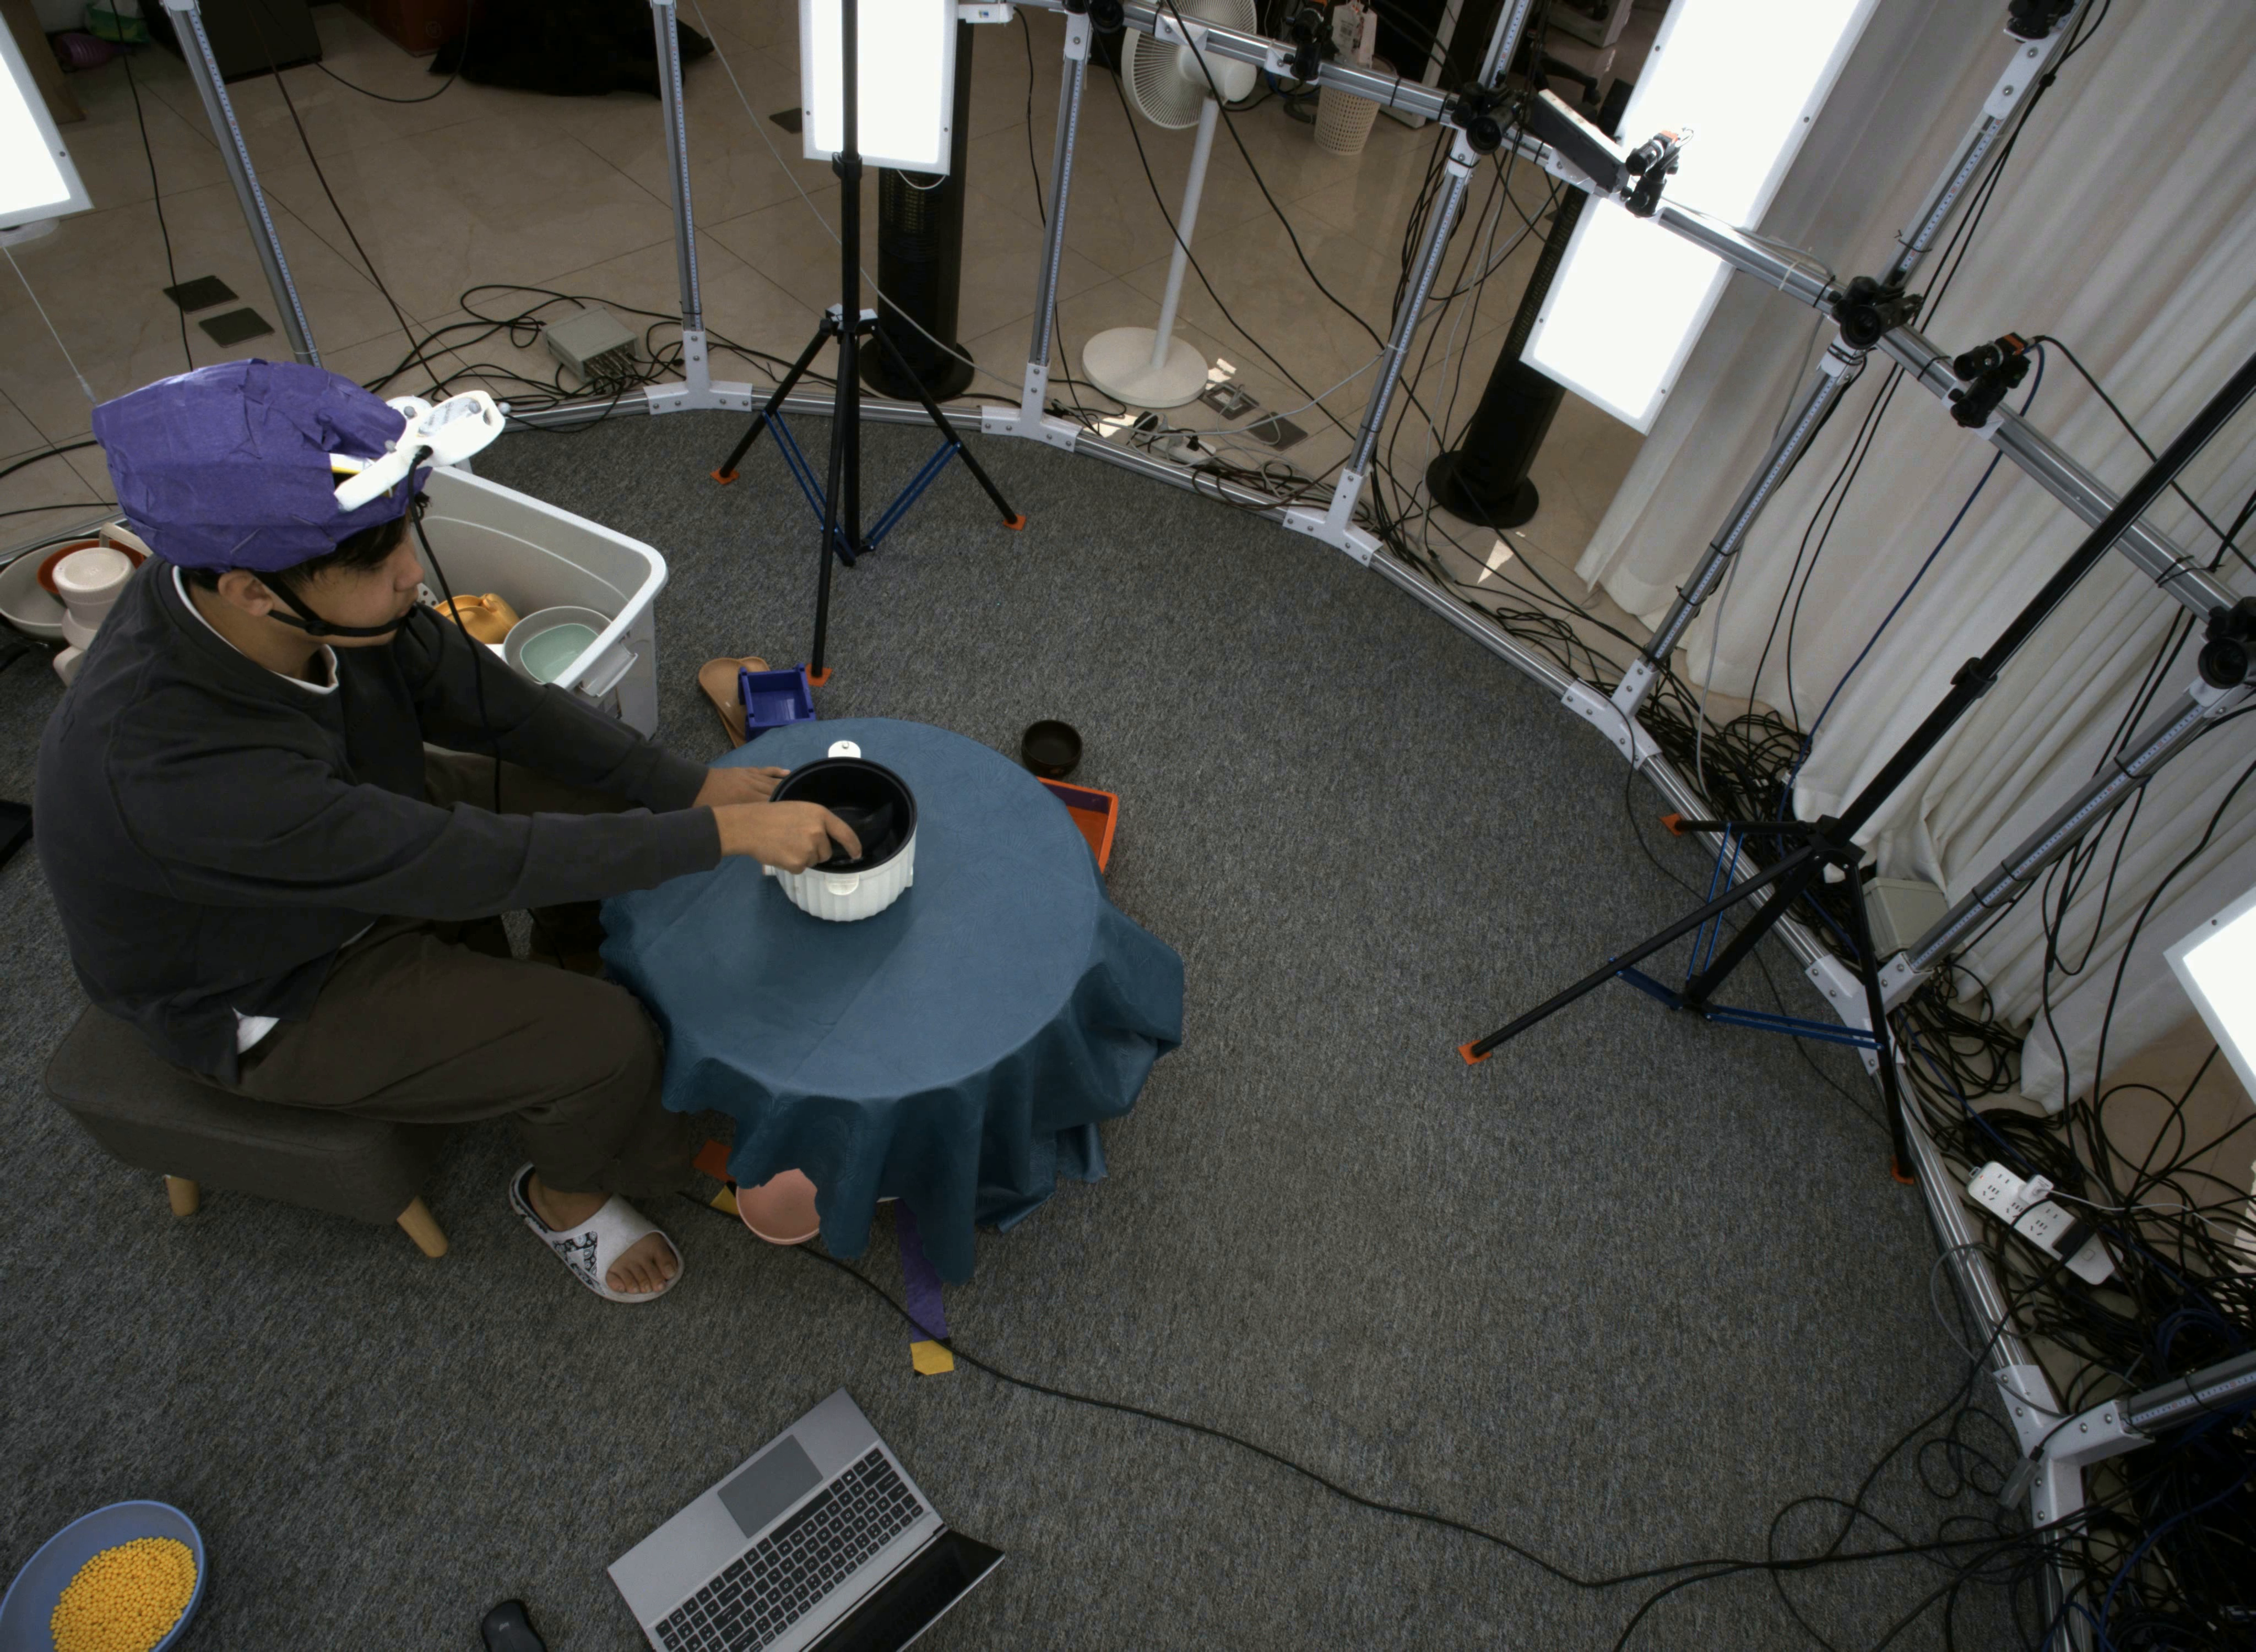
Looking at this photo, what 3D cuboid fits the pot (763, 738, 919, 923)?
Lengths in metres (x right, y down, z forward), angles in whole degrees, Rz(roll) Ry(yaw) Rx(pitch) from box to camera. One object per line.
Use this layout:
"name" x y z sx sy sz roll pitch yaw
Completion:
"pot" -0.361 0.024 1.629 0.191 0.145 0.235 2 52 -15

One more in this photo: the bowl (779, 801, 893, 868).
"bowl" -0.346 0.011 1.567 0.137 0.167 0.068 -12 95 -13
